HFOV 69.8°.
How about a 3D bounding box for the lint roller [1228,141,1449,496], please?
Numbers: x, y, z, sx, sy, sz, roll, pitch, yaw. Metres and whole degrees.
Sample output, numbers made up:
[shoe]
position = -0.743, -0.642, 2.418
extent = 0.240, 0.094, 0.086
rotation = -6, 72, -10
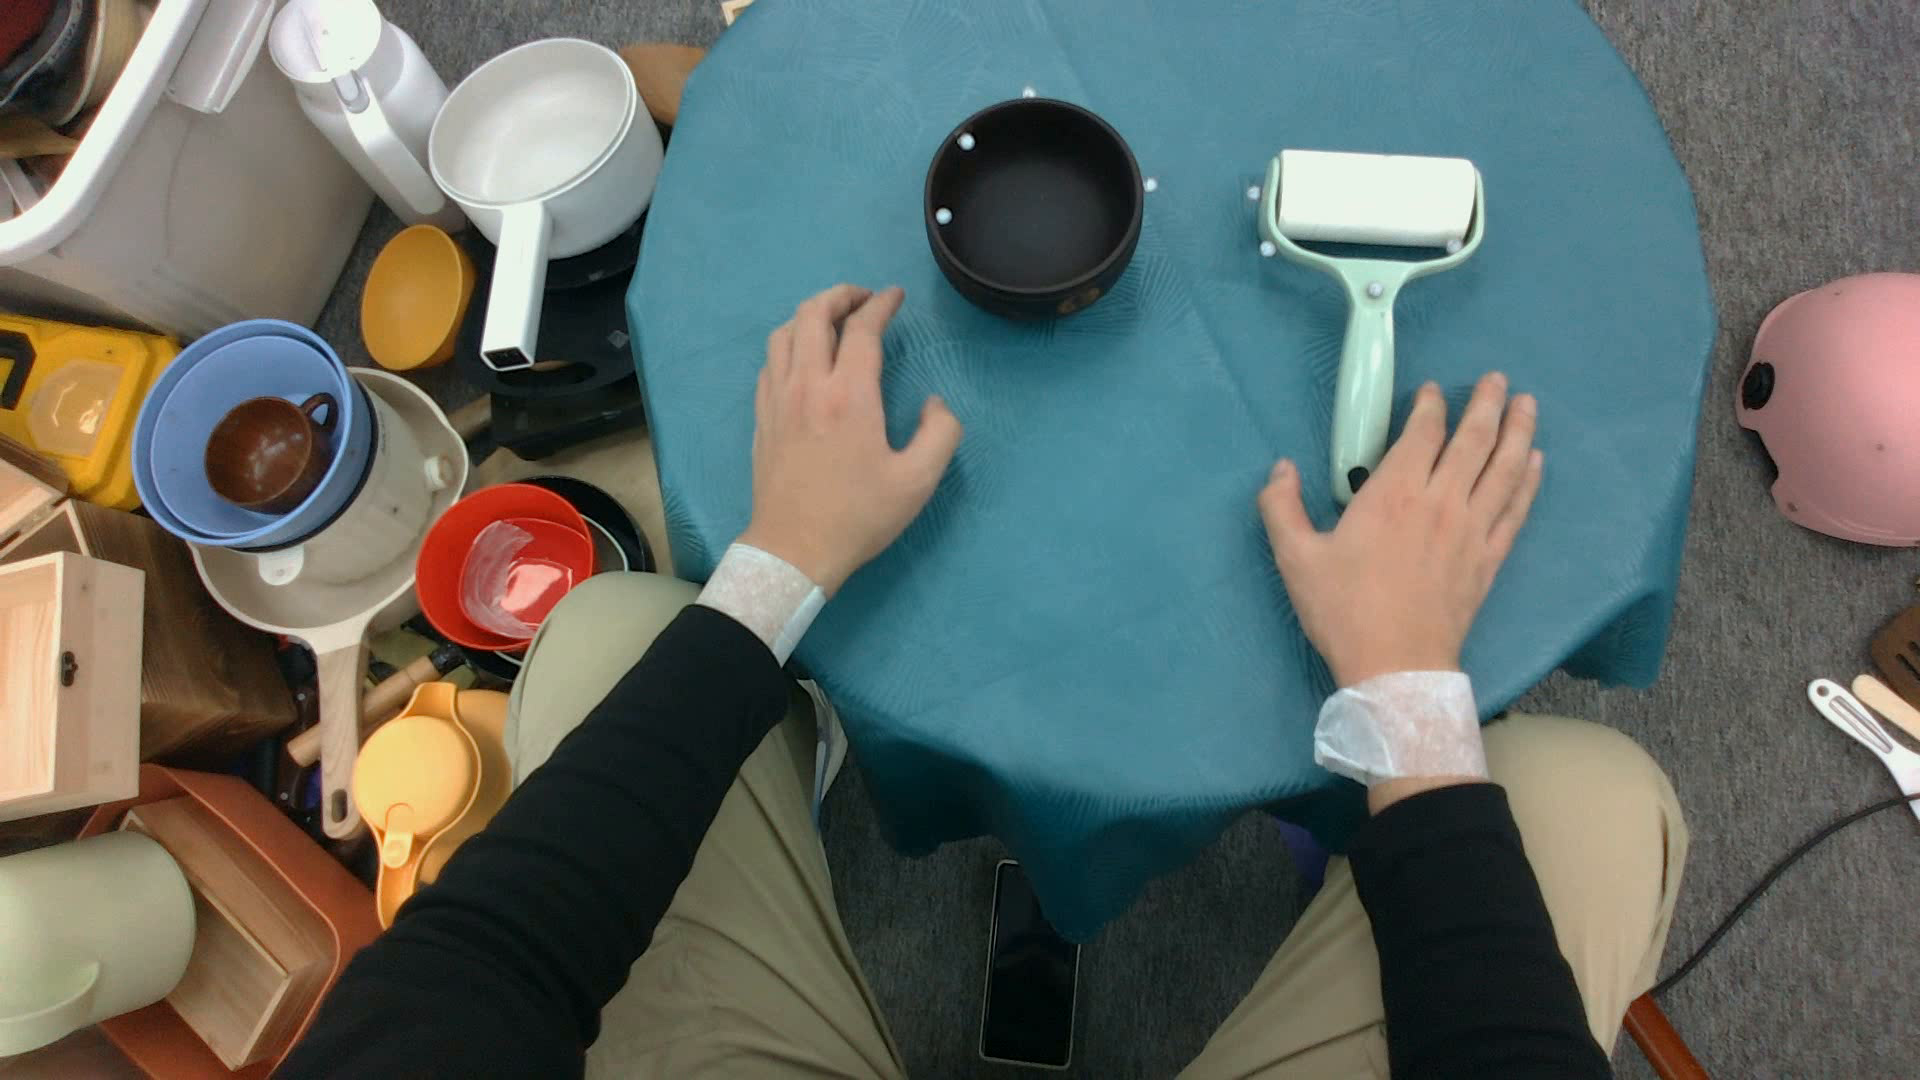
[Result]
[lint roller]
position = 0.202, -0.123, 0.745
extent = 0.116, 0.048, 0.198
rotation = 4, 77, 2

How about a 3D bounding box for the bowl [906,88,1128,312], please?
[bowl]
position = 0.031, -0.178, 0.752
extent = 0.118, 0.069, 0.118
rotation = 0, 76, 1
